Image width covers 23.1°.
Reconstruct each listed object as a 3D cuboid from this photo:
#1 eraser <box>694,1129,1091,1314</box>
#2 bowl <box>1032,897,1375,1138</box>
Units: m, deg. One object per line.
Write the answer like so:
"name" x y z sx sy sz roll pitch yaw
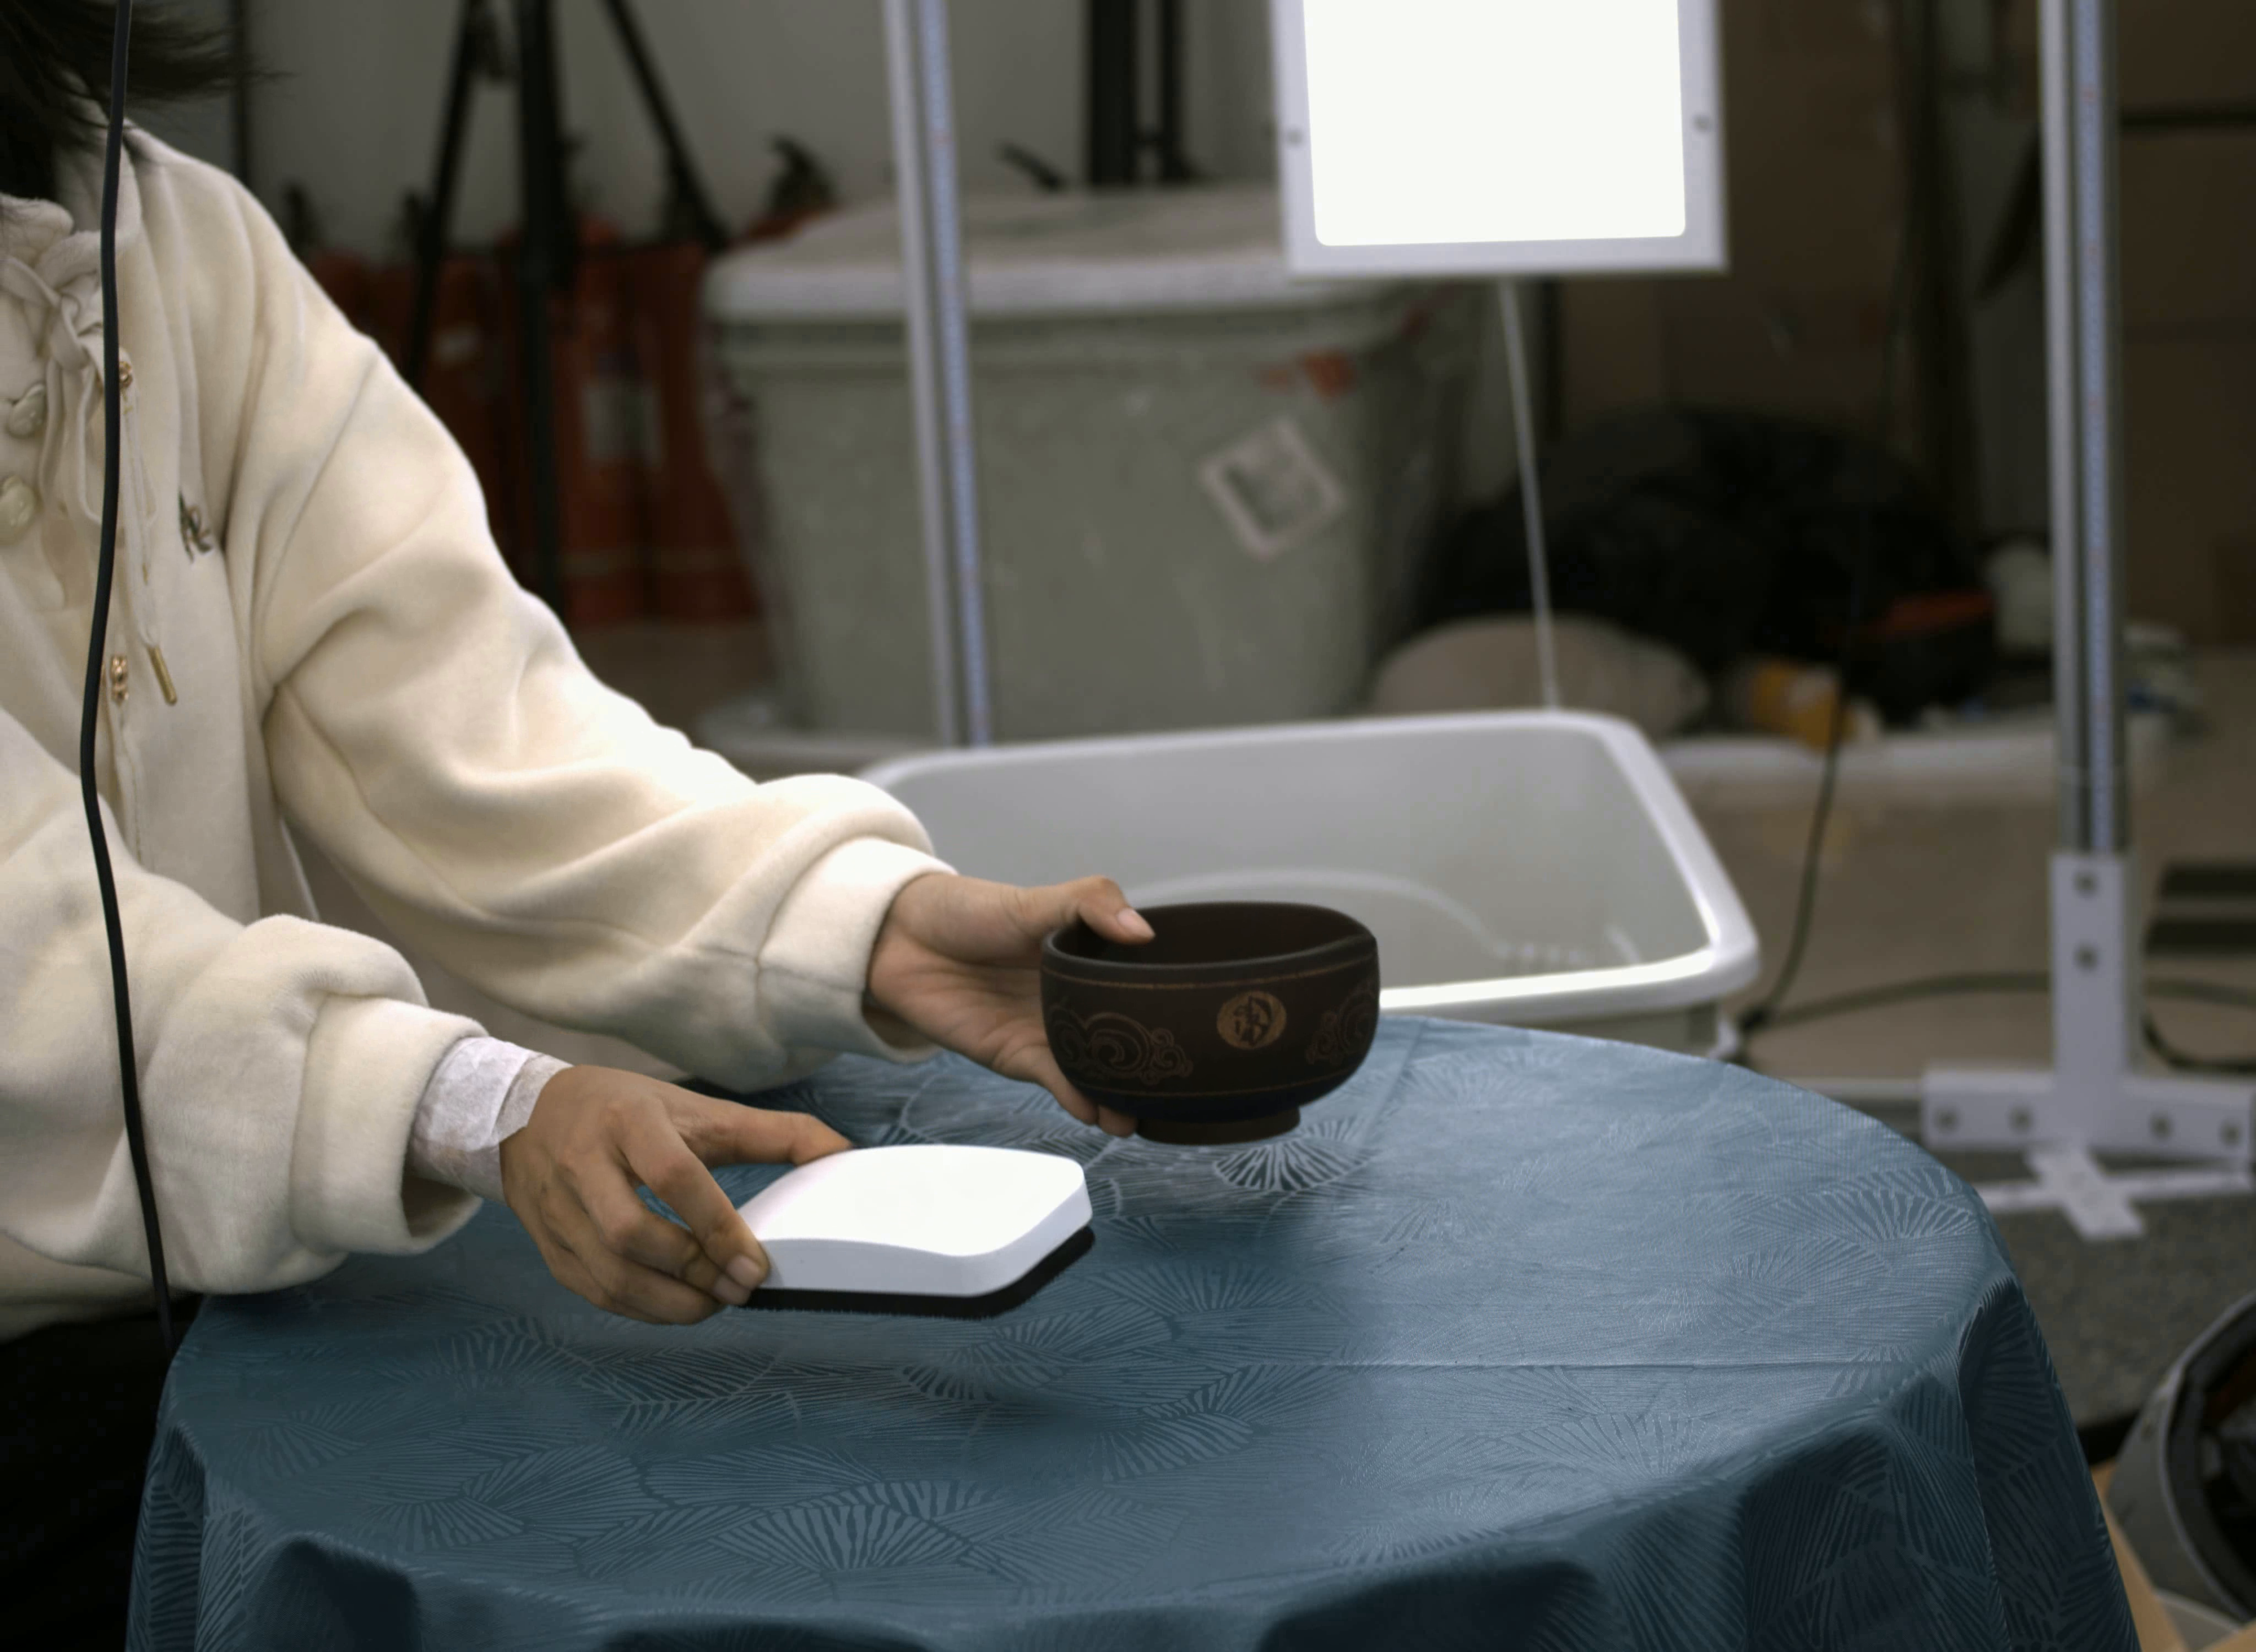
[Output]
"eraser" -0.072 0.123 1.712 0.134 0.034 0.062 -2 24 43
"bowl" 0.027 0.067 1.879 0.117 0.070 0.118 -5 7 -1
